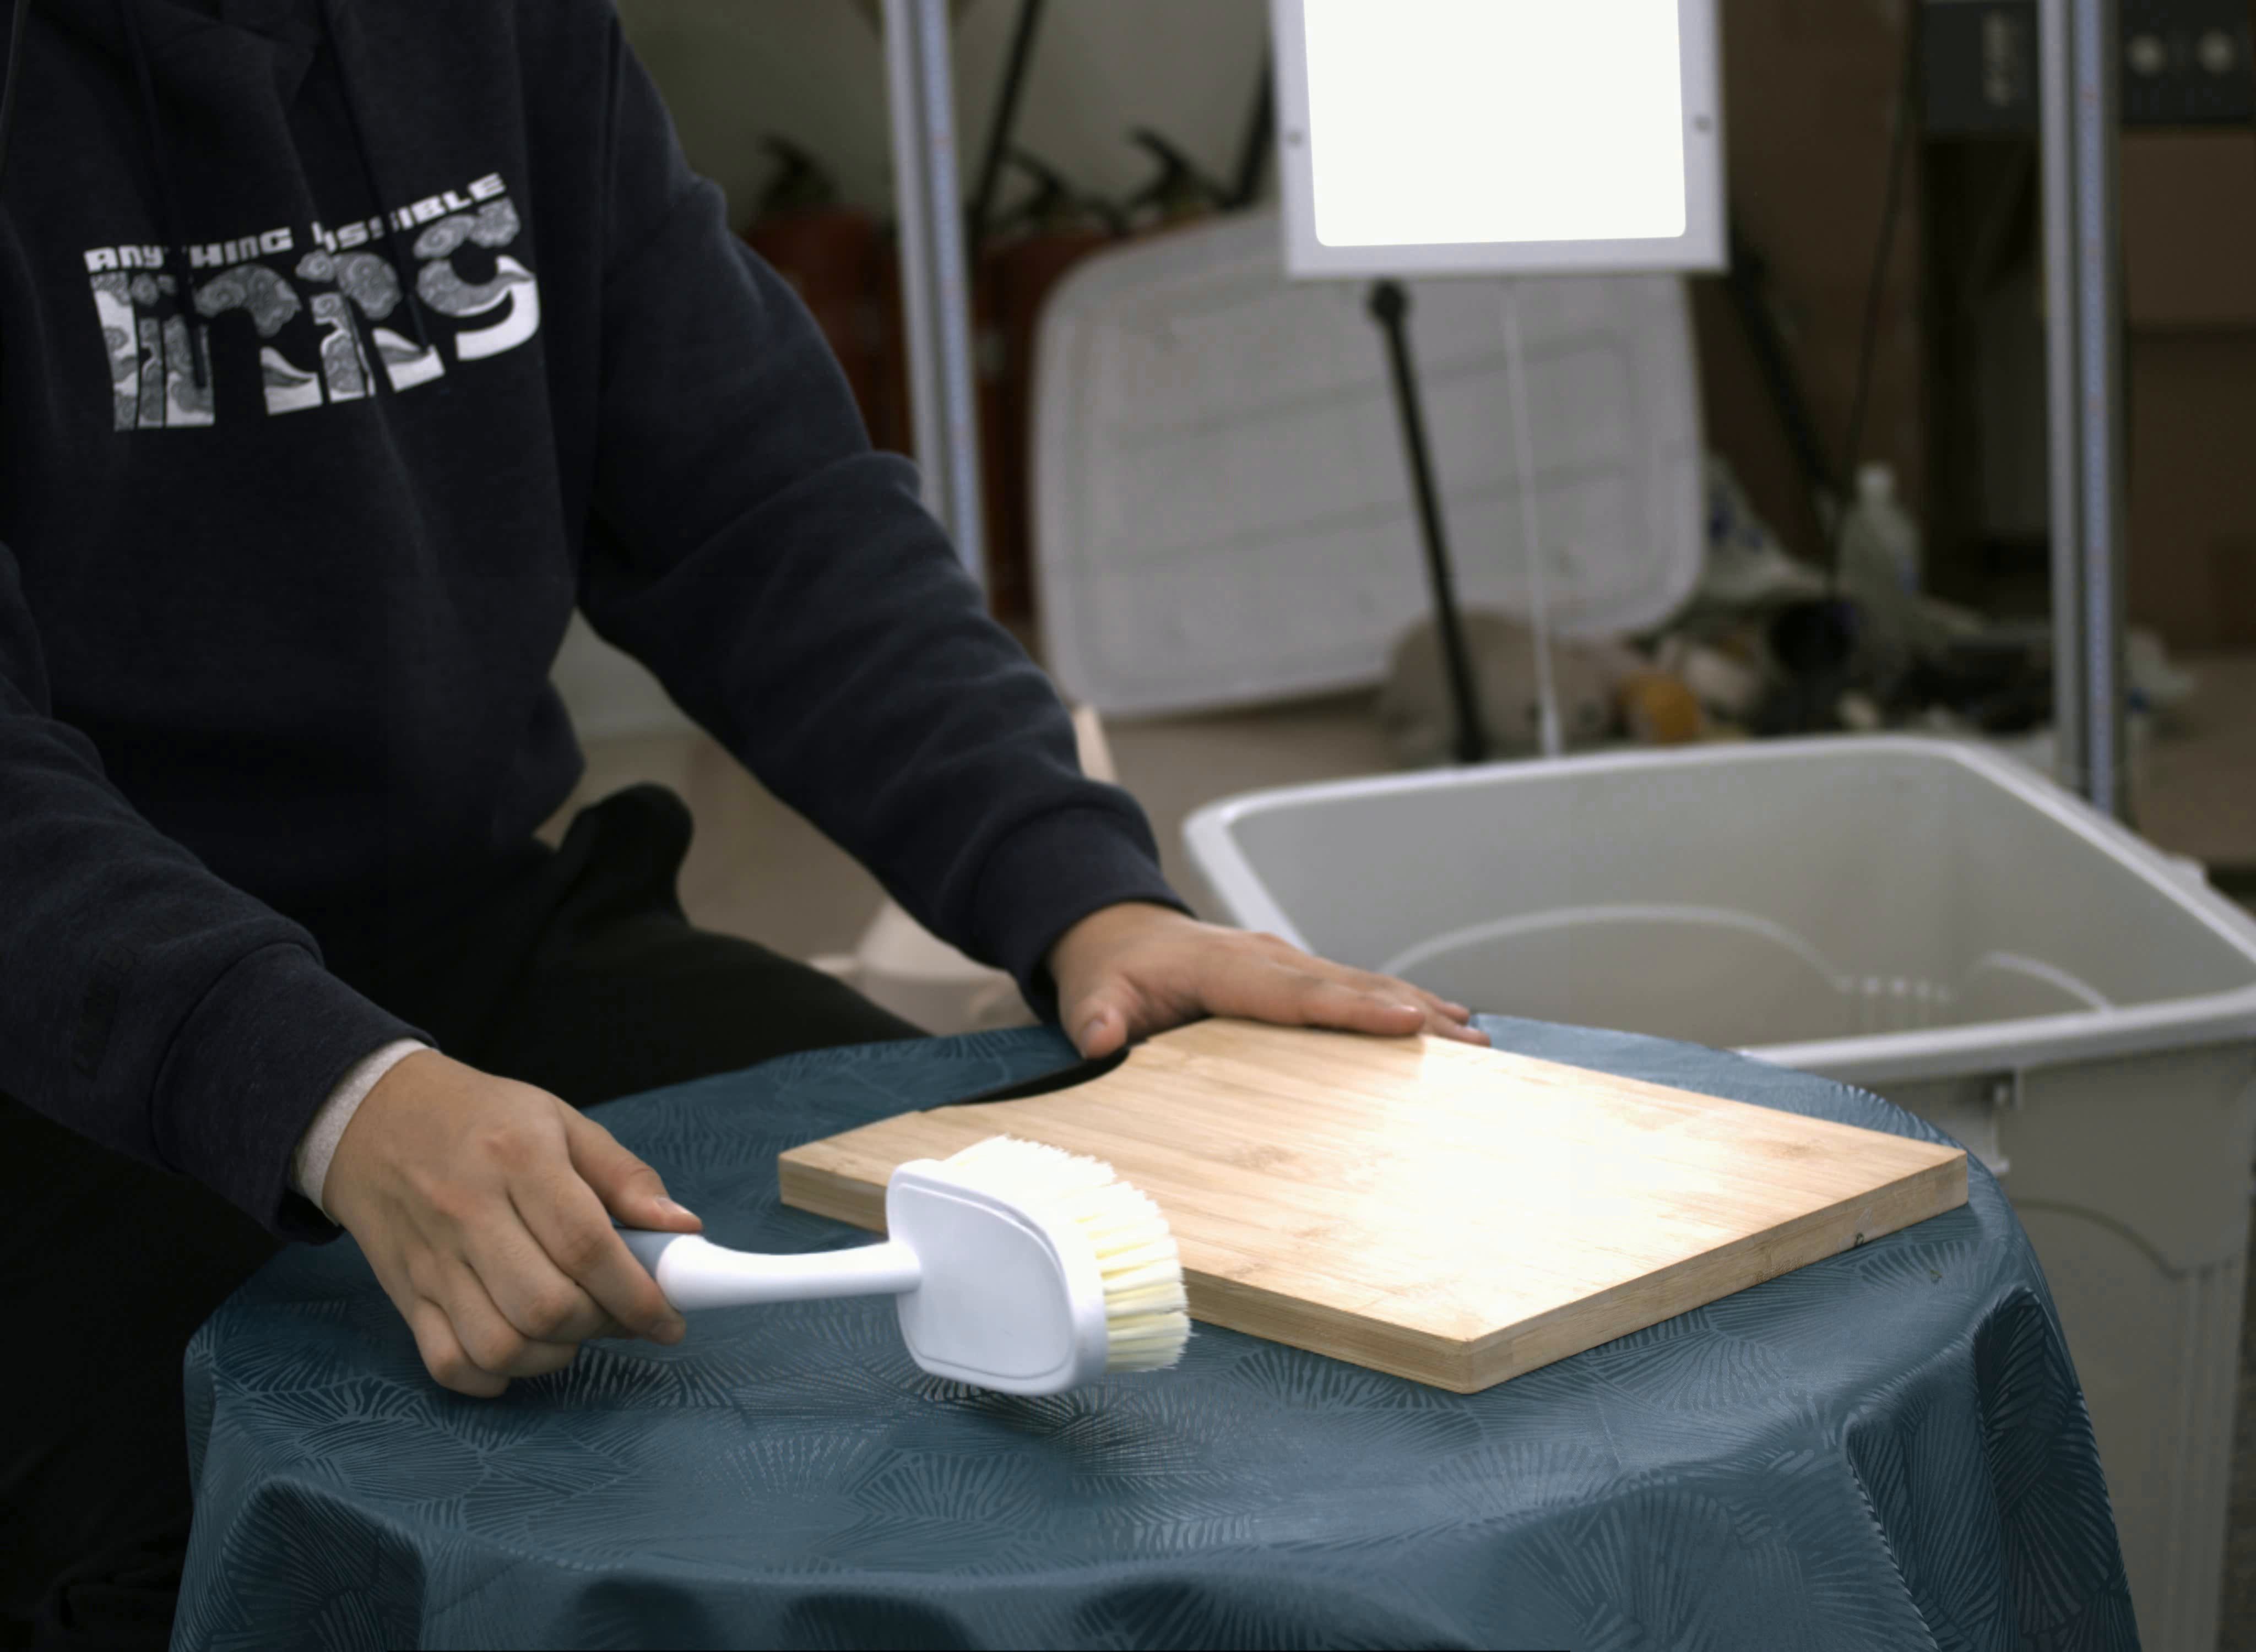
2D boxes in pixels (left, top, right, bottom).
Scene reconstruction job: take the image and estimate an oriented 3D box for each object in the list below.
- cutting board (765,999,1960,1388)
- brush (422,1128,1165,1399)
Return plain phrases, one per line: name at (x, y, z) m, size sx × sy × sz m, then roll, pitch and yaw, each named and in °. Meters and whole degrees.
cutting board at (0.075, 0.119, 1.869) m, size 0.244 × 0.023 × 0.356 m, roll -15°, pitch 17°, yaw -39°
brush at (-0.099, 0.130, 1.744) m, size 0.083 × 0.083 × 0.333 m, roll 31°, pitch -19°, yaw -38°
